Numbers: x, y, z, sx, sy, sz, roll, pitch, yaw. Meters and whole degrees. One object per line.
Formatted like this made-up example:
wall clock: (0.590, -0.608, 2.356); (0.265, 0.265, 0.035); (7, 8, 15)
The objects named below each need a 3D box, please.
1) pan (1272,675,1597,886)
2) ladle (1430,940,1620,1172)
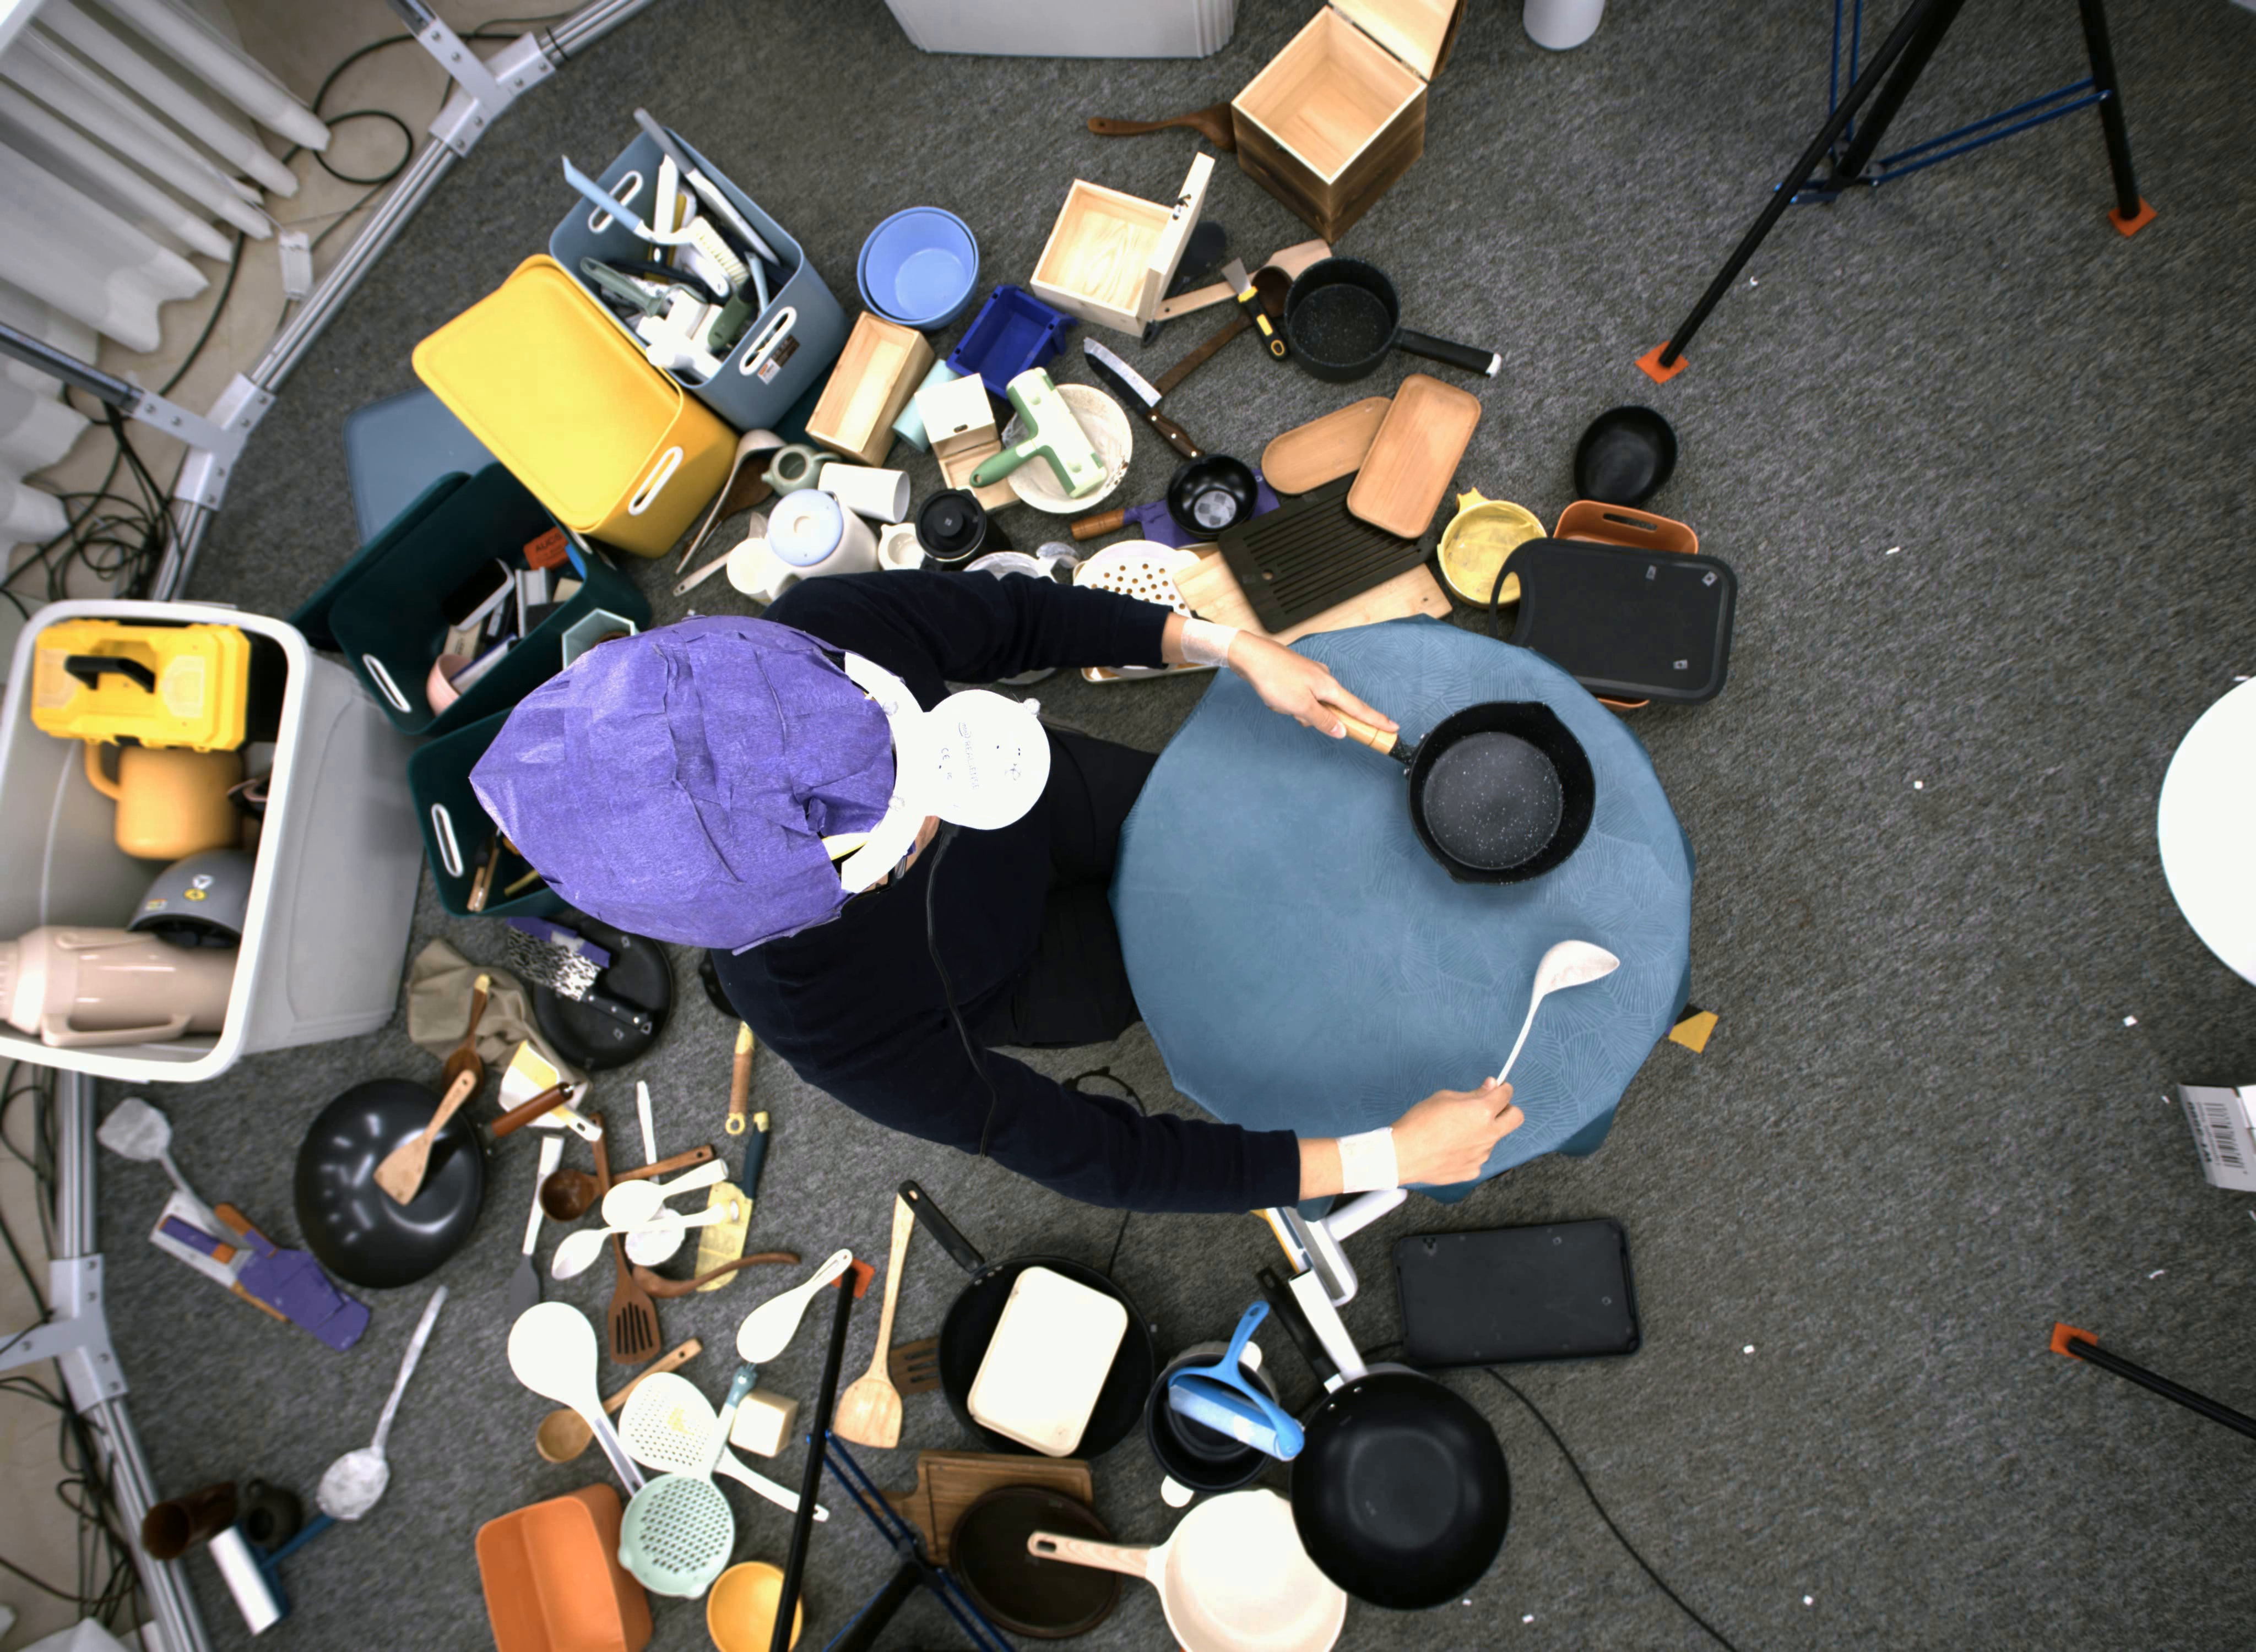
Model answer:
pan: (0.303, -0.065, 1.403); (0.342, 0.108, 0.208); (25, 92, 8)
ladle: (0.388, 0.229, 1.339); (0.069, 0.090, 0.272); (29, 78, 16)
